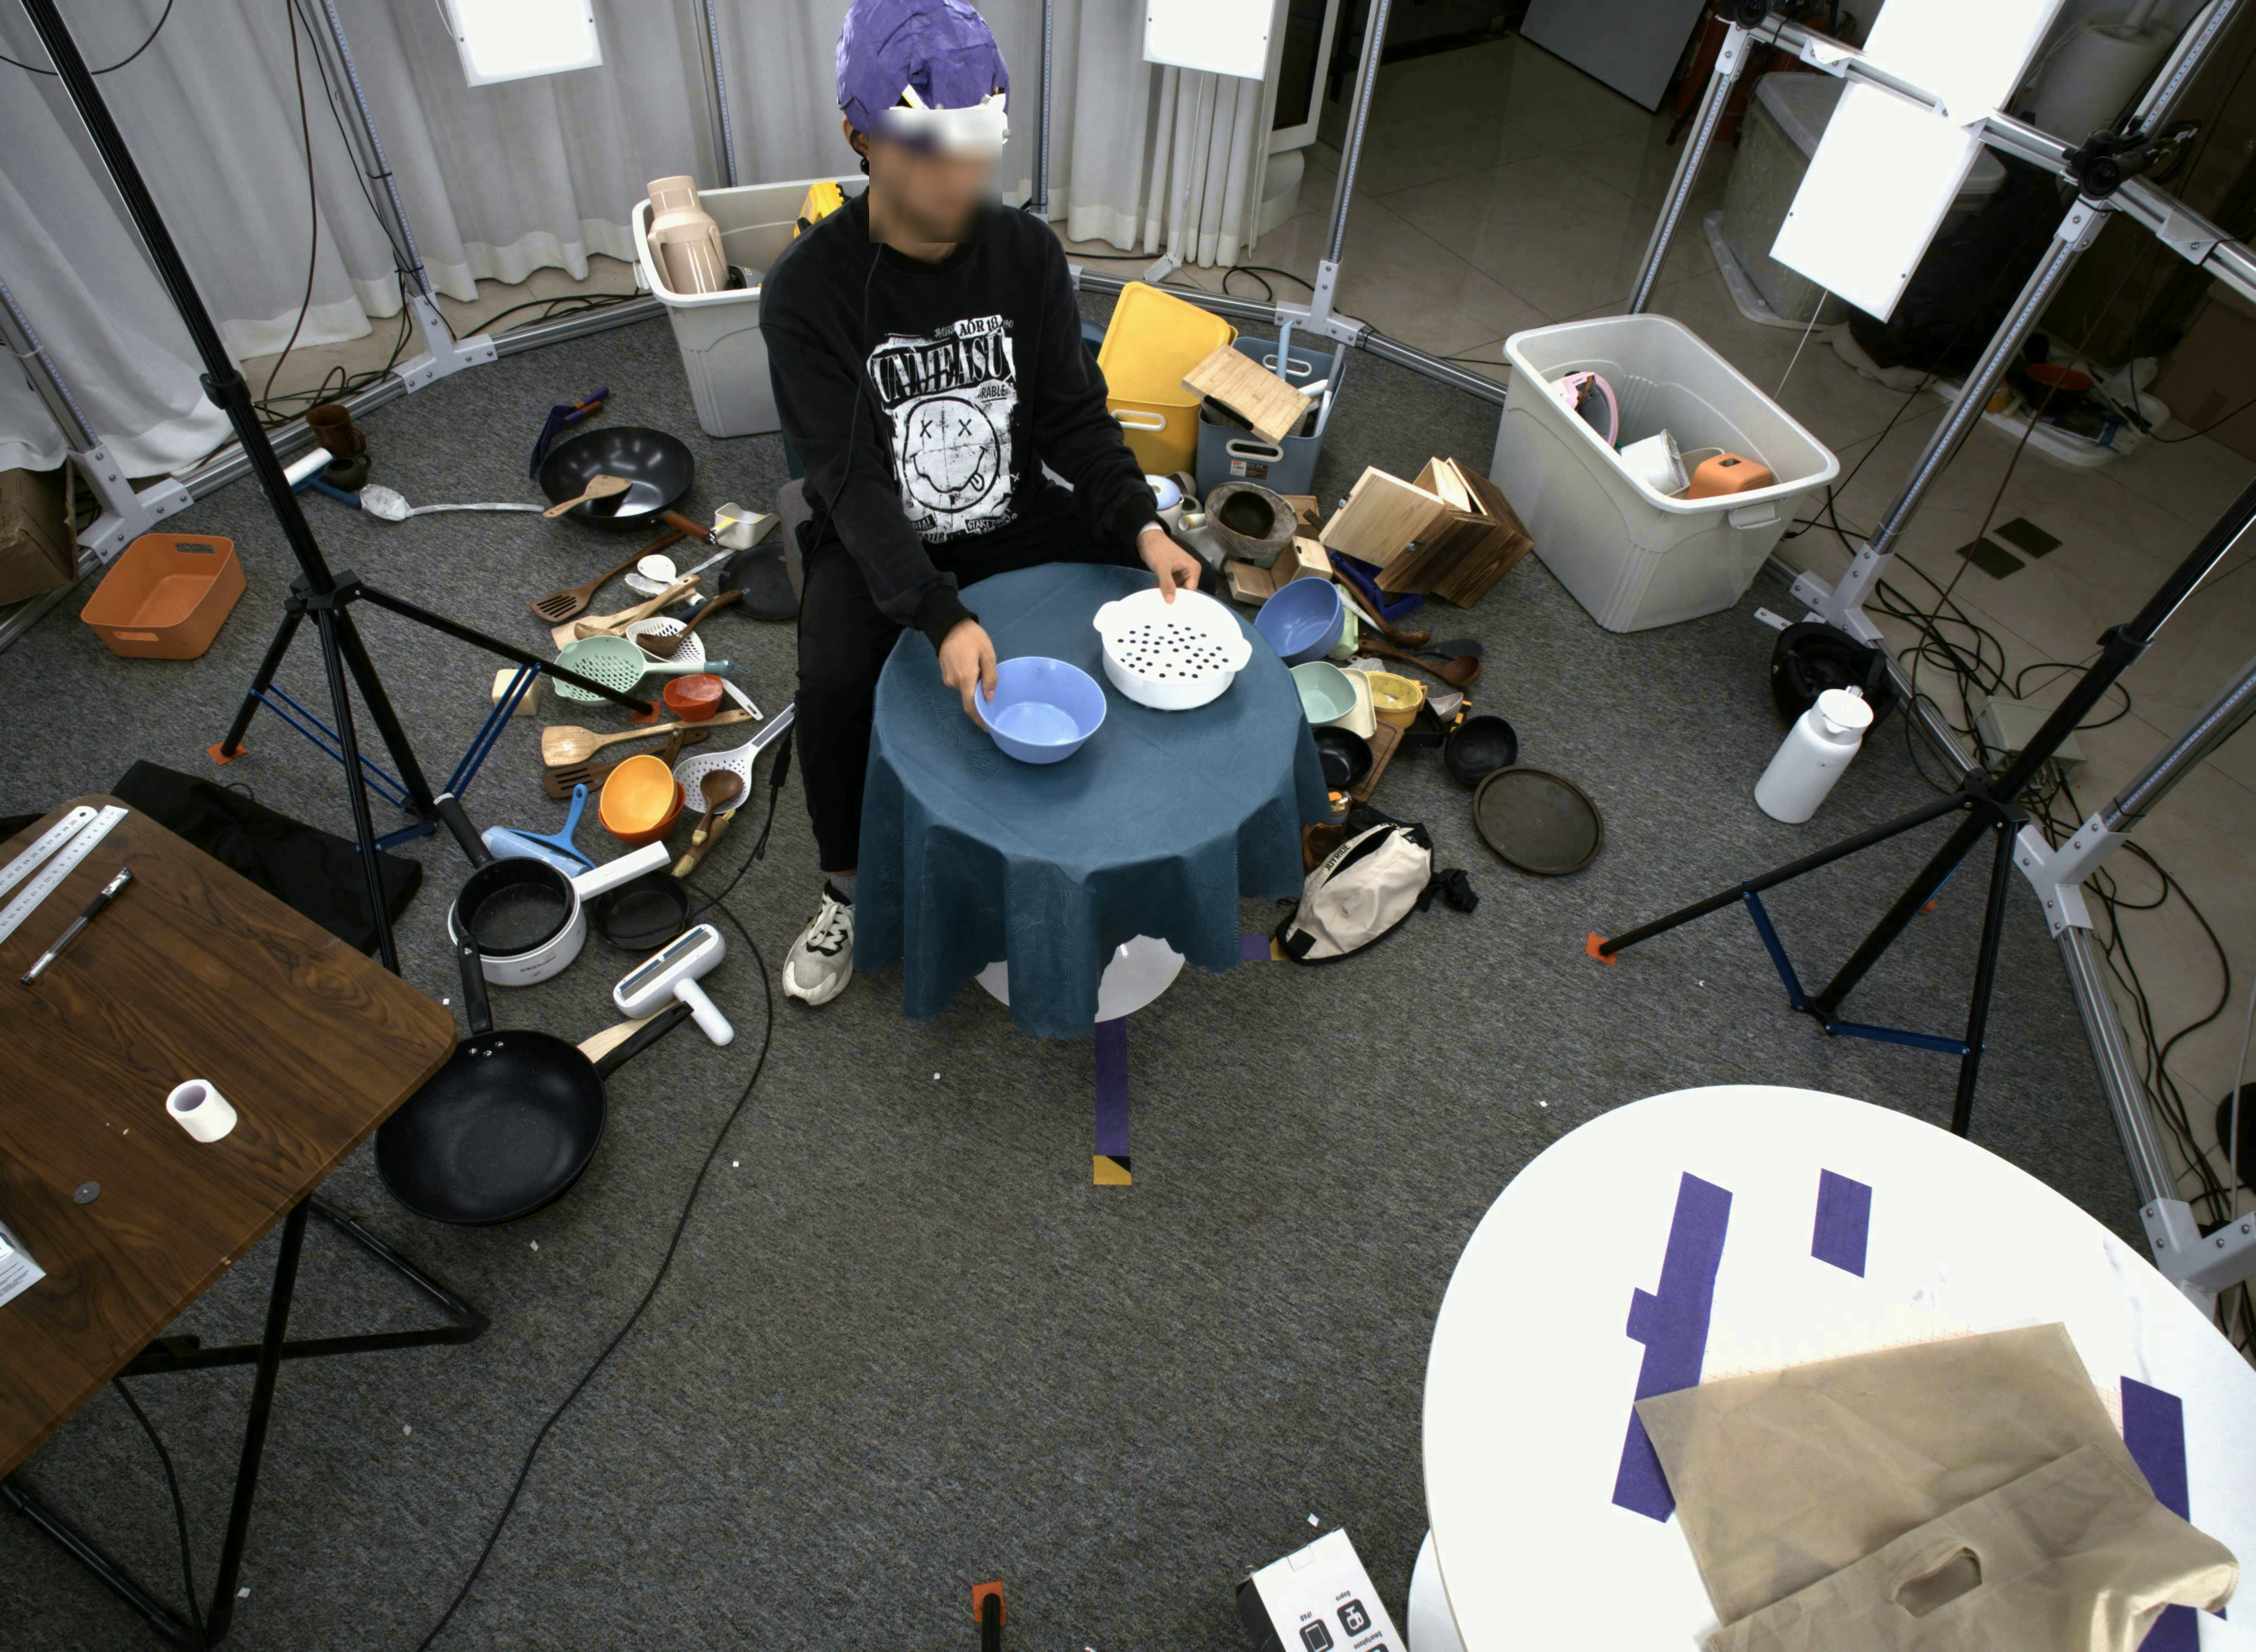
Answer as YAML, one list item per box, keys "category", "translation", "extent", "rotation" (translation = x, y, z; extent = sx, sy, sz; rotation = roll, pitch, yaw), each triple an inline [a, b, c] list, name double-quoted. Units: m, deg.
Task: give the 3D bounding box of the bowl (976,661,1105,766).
- category: "bowl"
  translation: [-0.122, -0.145, 1.750]
  extent: [0.176, 0.068, 0.180]
  rotation: [5, 46, -6]

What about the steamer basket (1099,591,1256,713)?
- category: "steamer basket"
  translation: [0.068, -0.252, 1.864]
  extent: [0.231, 0.067, 0.206]
  rotation: [19, 50, 10]
